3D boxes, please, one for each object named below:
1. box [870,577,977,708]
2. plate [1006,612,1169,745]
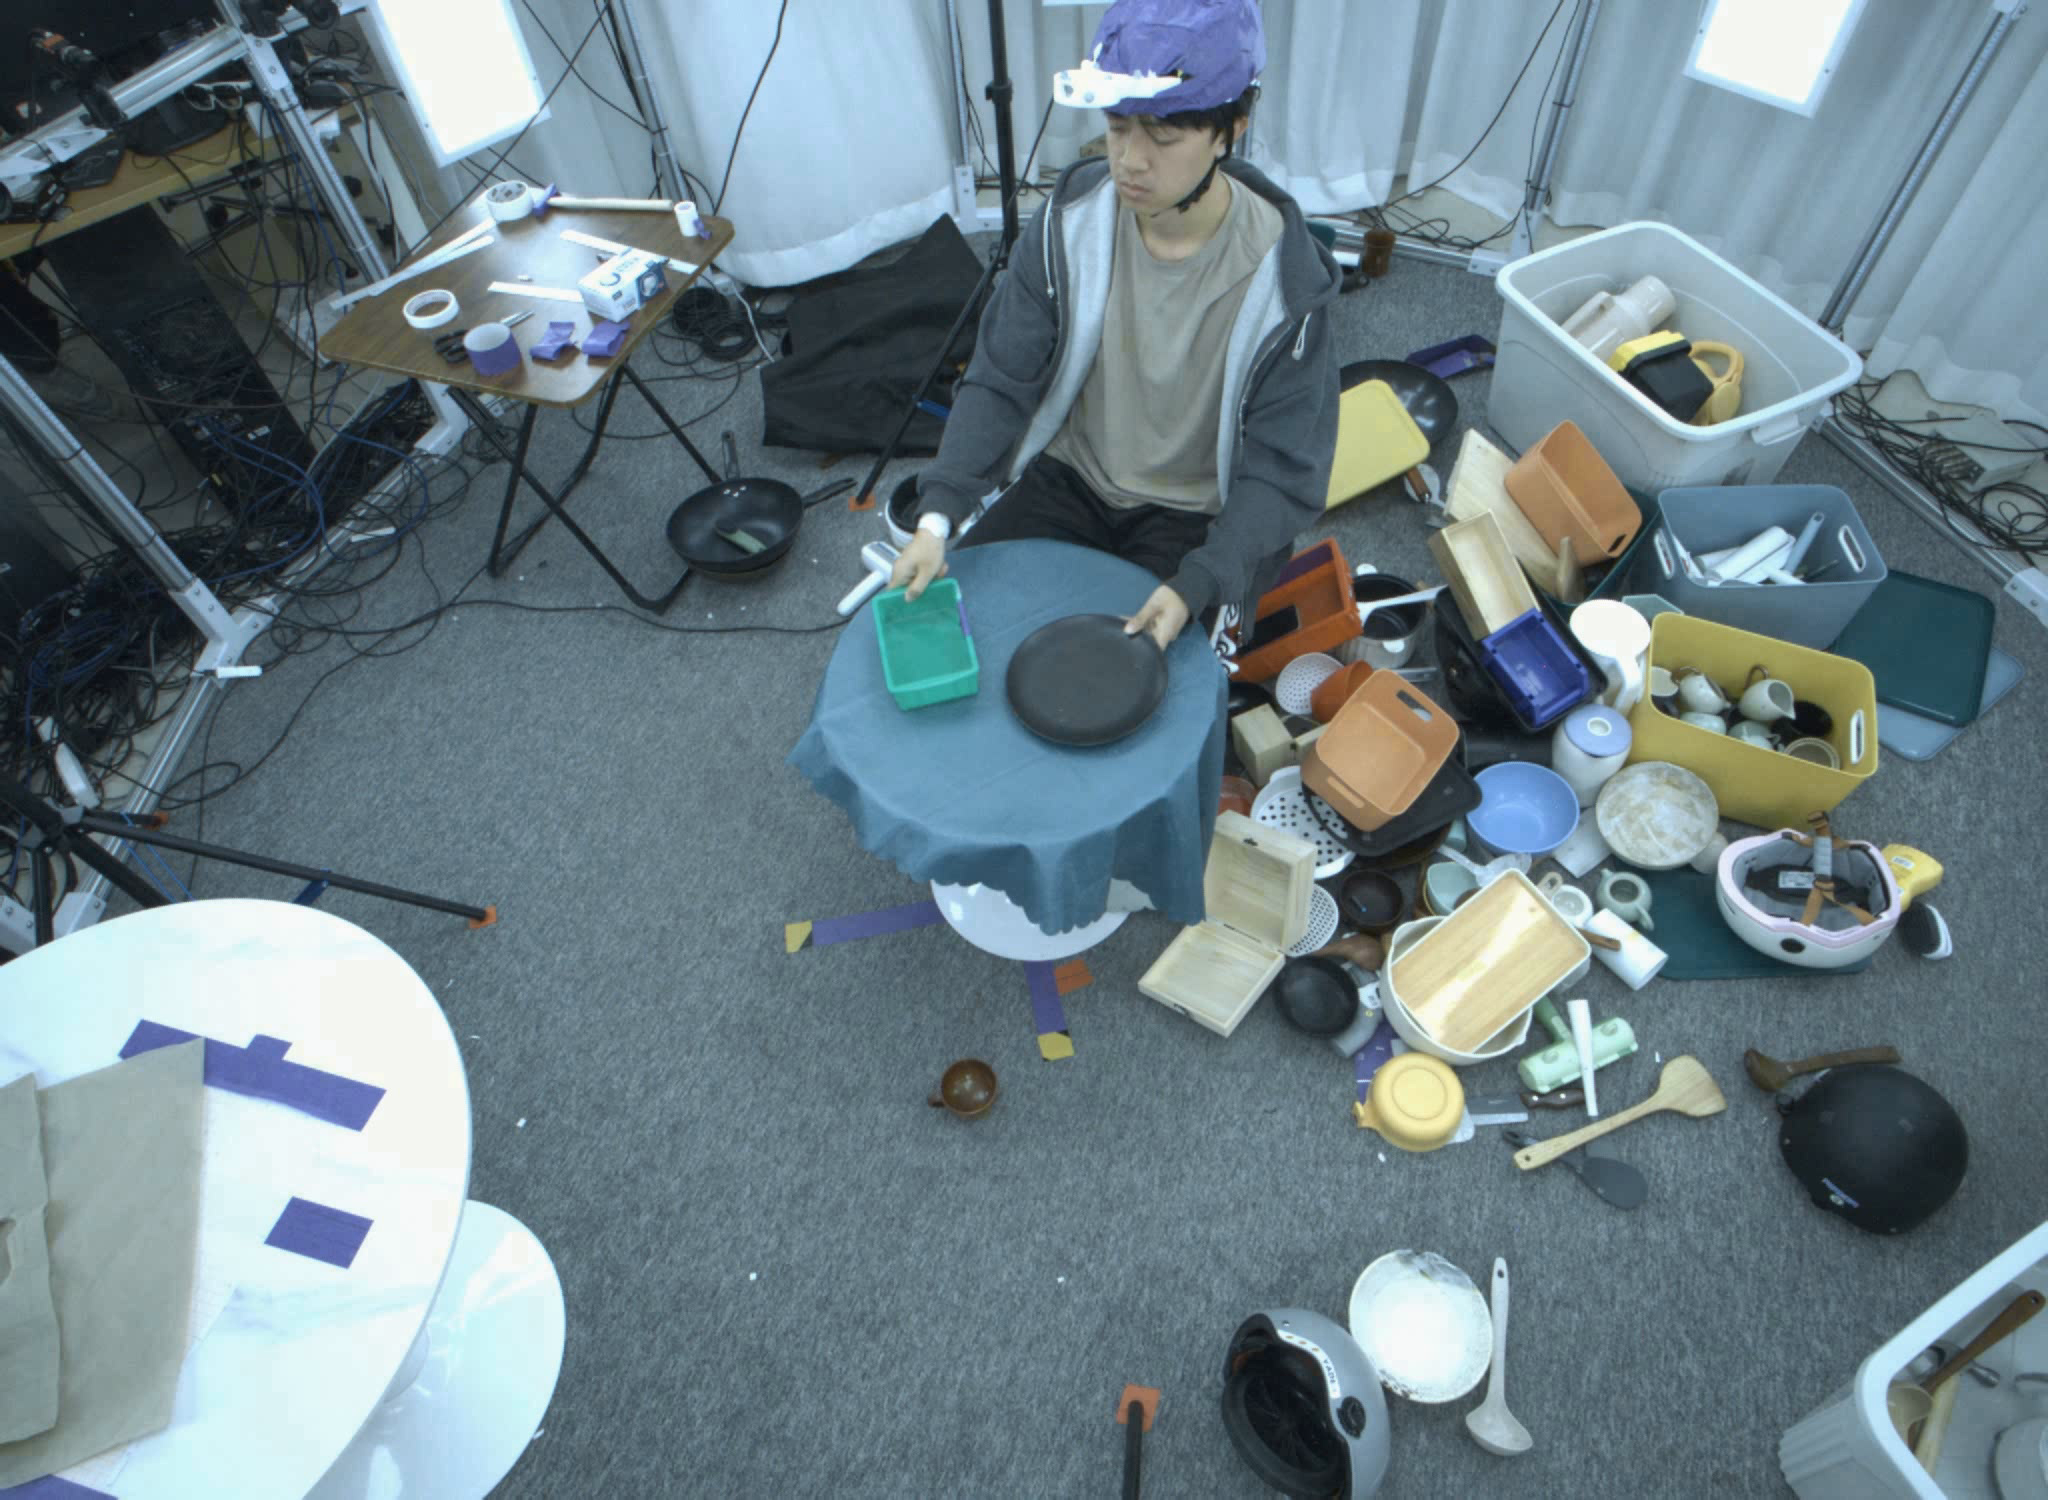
[{"bbox_3d":[-0.150,-0.162,1.865,0.139,0.066,0.207,-13,53,-4],"label":"box"},{"bbox_3d":[0.094,-0.105,1.839,0.243,0.024,0.242,-2,57,5],"label":"plate"}]
